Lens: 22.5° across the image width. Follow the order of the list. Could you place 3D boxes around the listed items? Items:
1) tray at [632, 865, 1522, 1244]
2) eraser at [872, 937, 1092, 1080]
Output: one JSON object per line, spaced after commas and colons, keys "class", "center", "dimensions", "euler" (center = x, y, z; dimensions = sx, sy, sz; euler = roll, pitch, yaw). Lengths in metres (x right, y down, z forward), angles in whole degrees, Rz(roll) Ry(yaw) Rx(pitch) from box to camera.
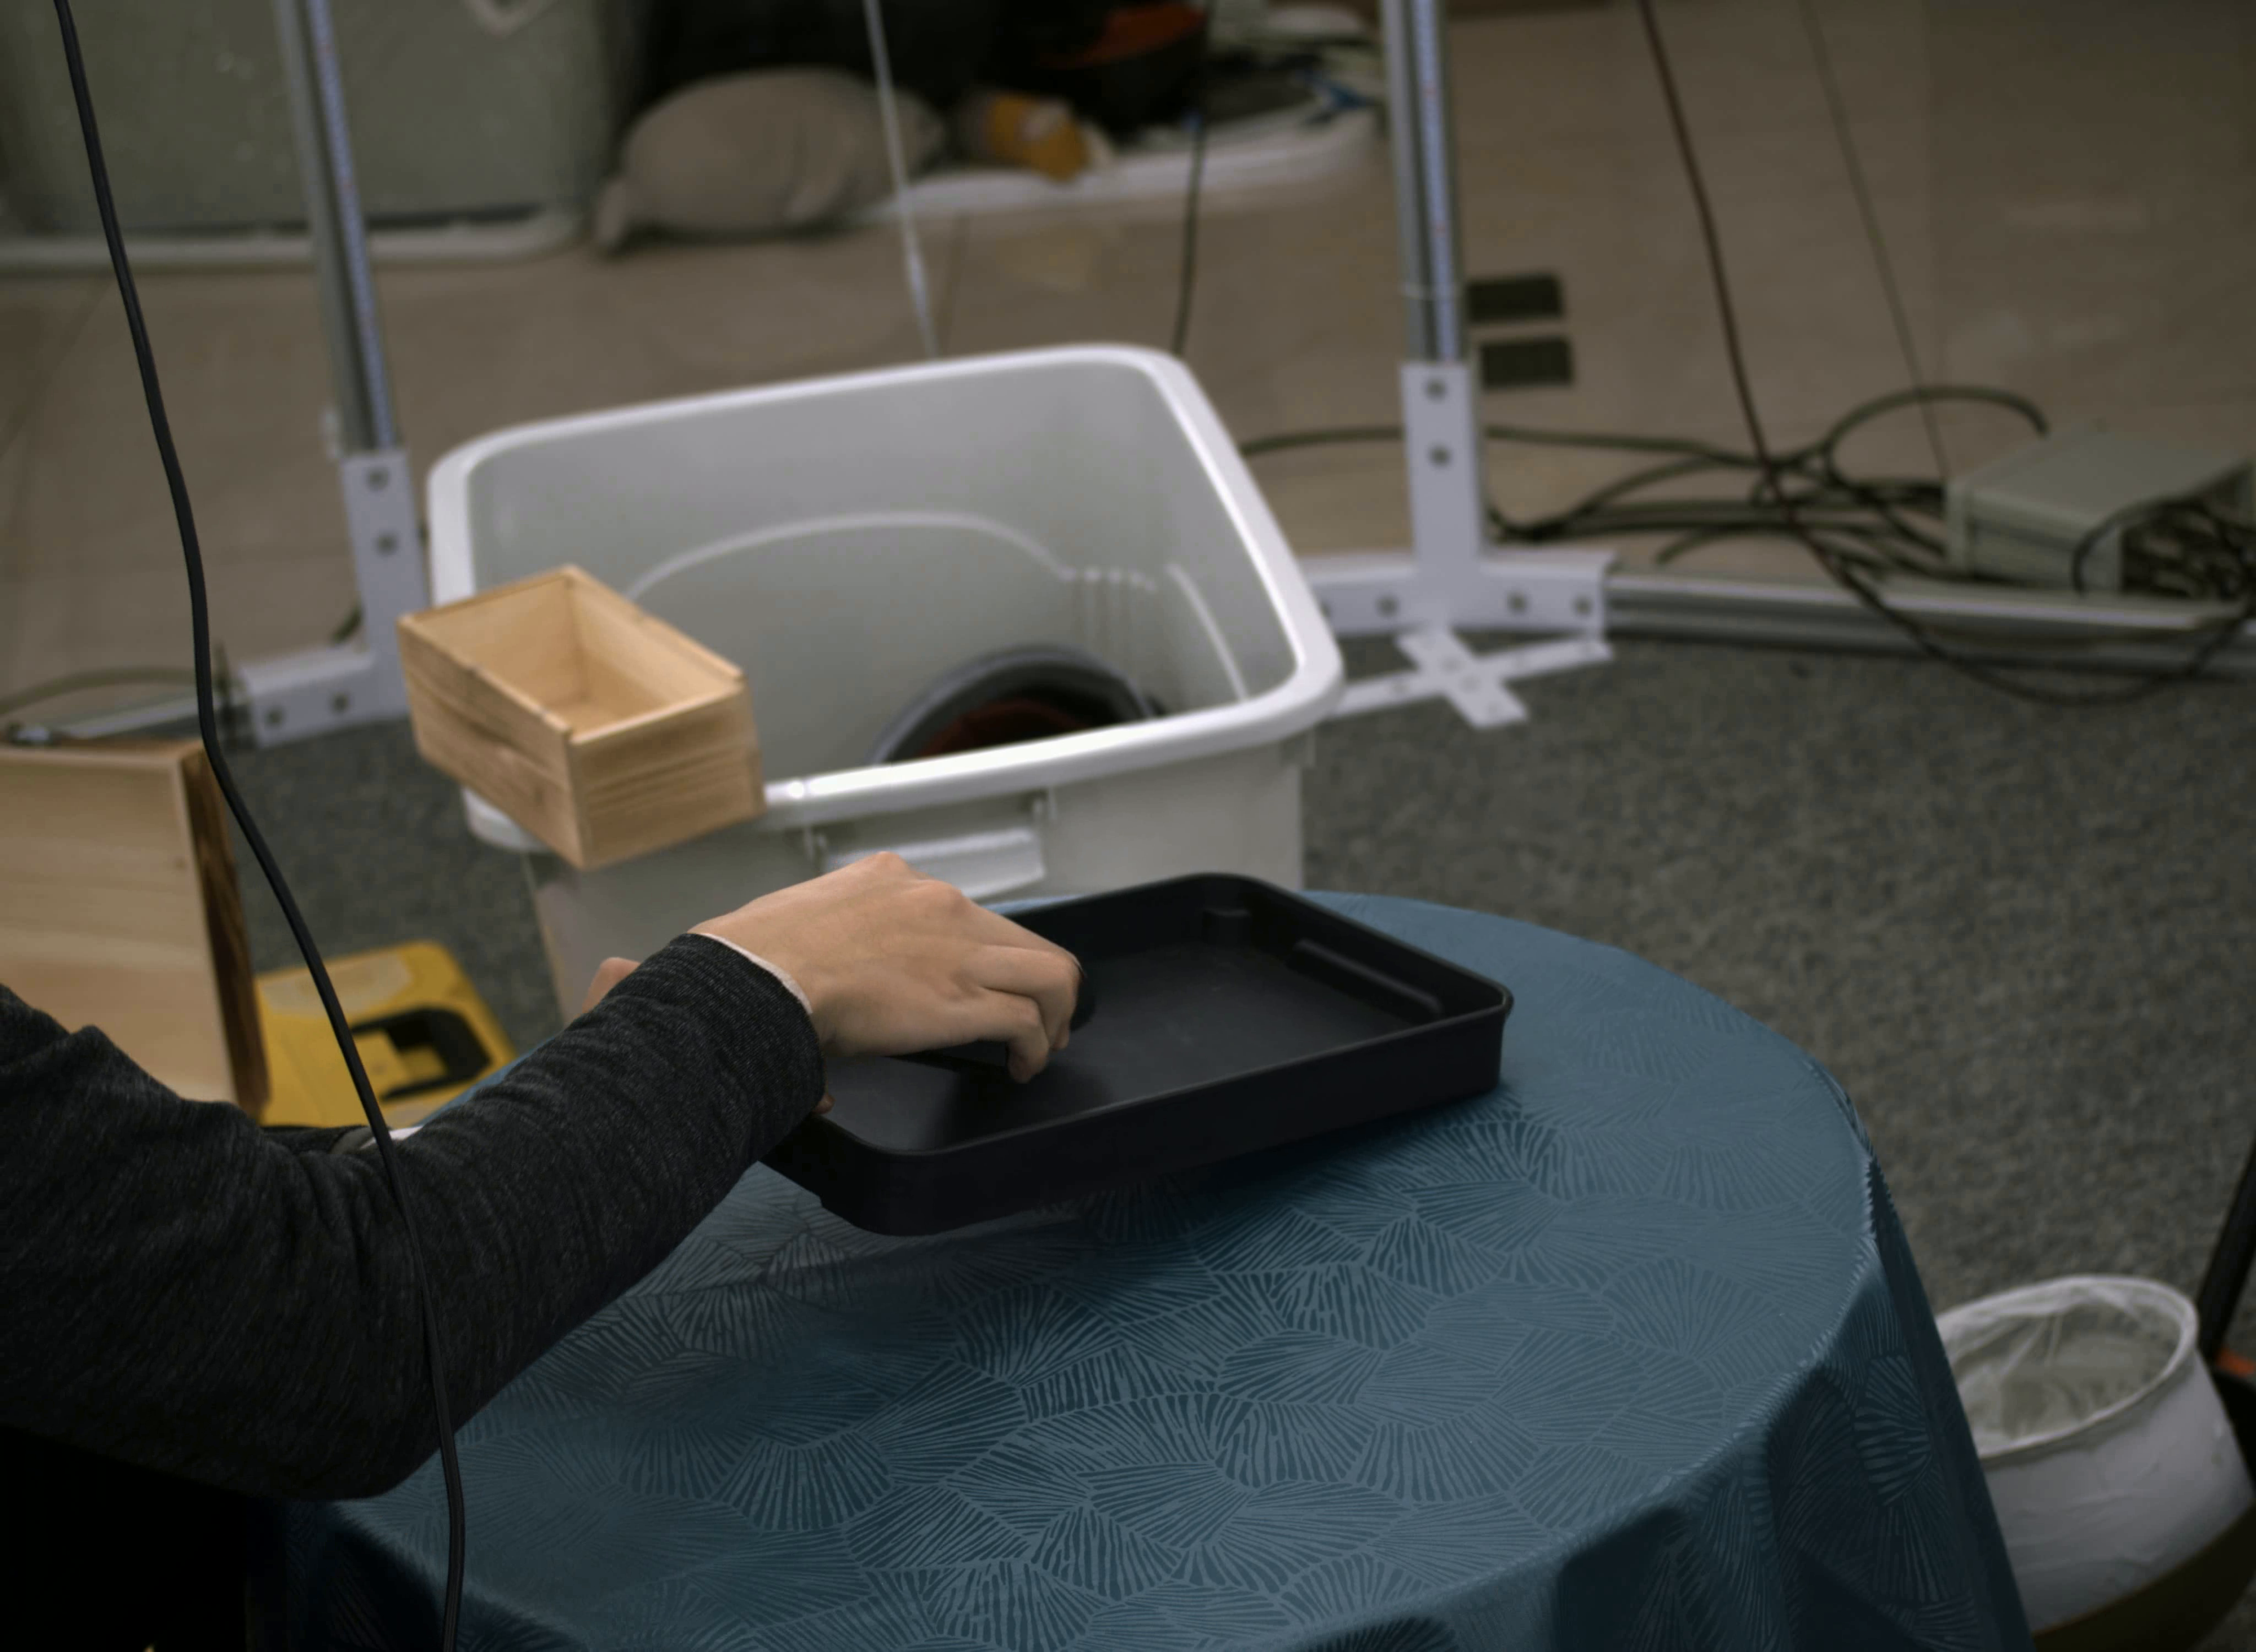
{"class": "tray", "center": [-0.017, 0.082, 2.161], "dimensions": [0.316, 0.037, 0.182], "euler": [-13, 26, -40]}
{"class": "eraser", "center": [-0.054, 0.067, 2.127], "dimensions": [0.053, 0.031, 0.125], "euler": [7, 11, 13]}
